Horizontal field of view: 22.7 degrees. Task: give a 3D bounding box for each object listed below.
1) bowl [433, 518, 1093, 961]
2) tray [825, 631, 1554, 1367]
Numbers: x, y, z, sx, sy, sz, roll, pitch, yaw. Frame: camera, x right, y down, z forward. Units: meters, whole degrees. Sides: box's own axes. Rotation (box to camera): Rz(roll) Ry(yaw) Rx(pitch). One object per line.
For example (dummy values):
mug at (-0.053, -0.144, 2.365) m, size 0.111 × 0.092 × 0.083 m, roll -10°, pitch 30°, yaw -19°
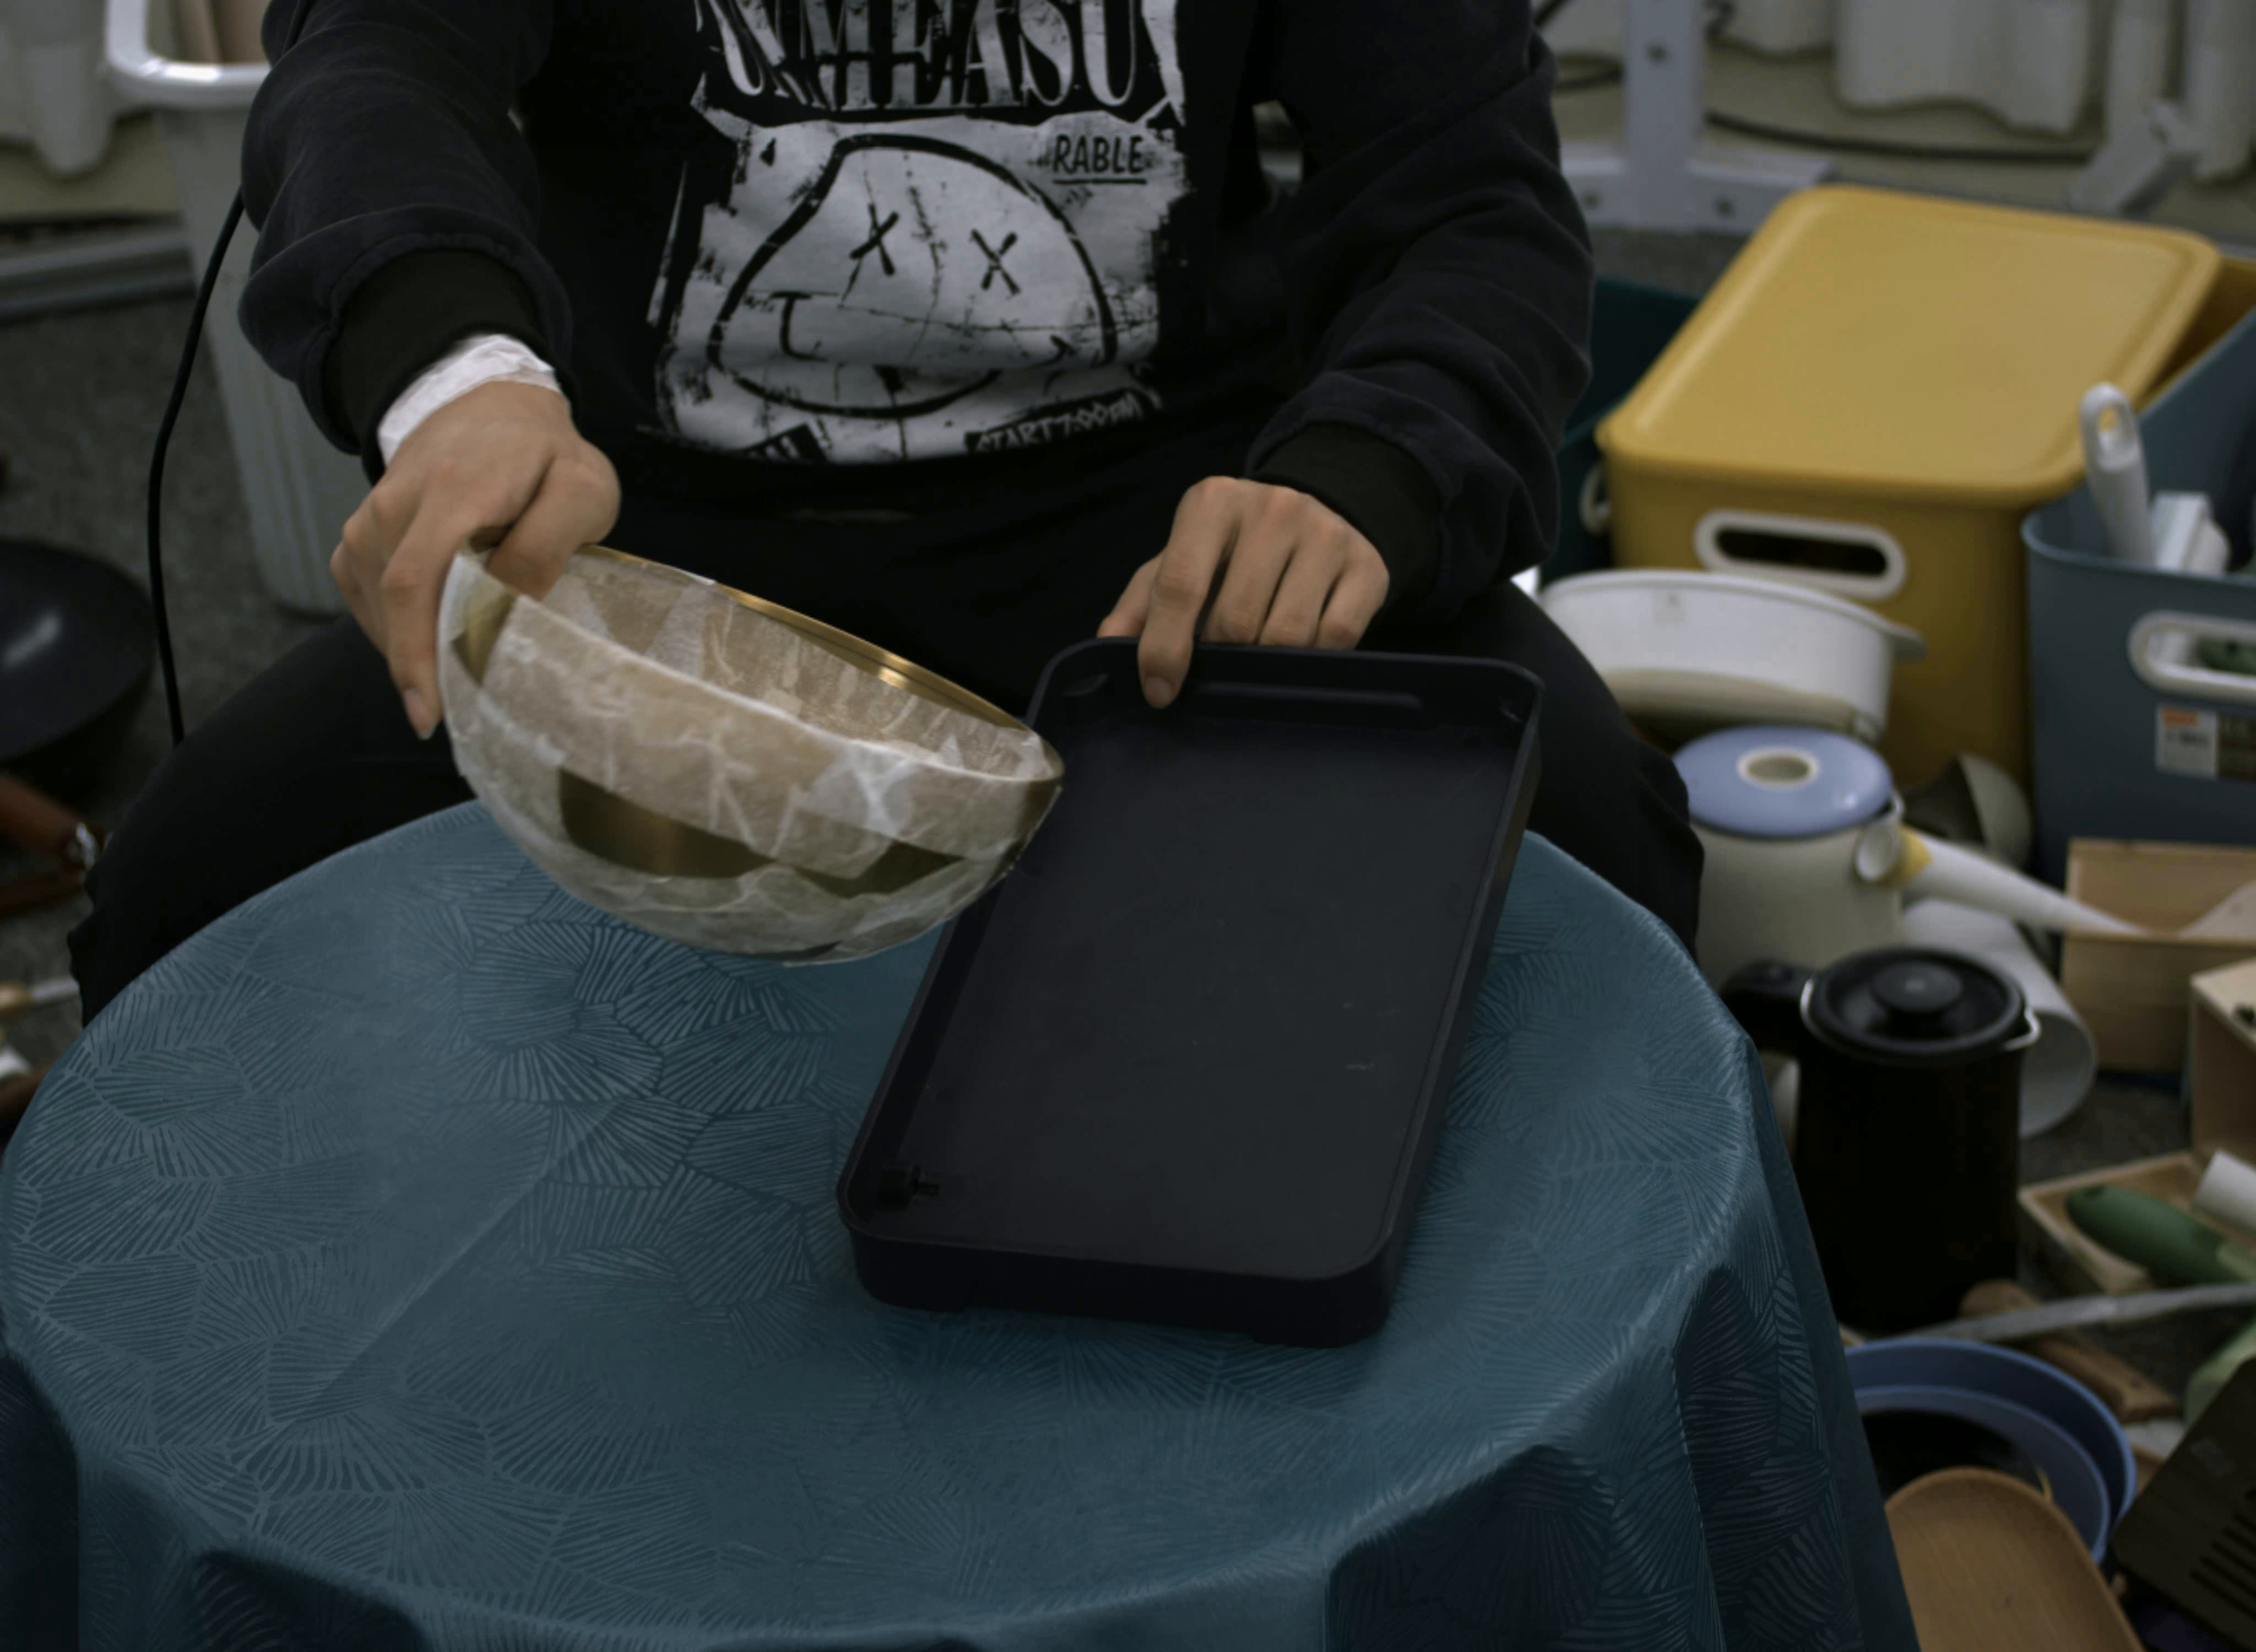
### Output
bowl at (-0.127, -0.014, 1.742) m, size 0.214 × 0.094 × 0.216 m, roll 20°, pitch 9°, yaw -3°
tray at (0.028, 0.051, 1.897) m, size 0.183 × 0.036 × 0.324 m, roll 6°, pitch 41°, yaw 15°
